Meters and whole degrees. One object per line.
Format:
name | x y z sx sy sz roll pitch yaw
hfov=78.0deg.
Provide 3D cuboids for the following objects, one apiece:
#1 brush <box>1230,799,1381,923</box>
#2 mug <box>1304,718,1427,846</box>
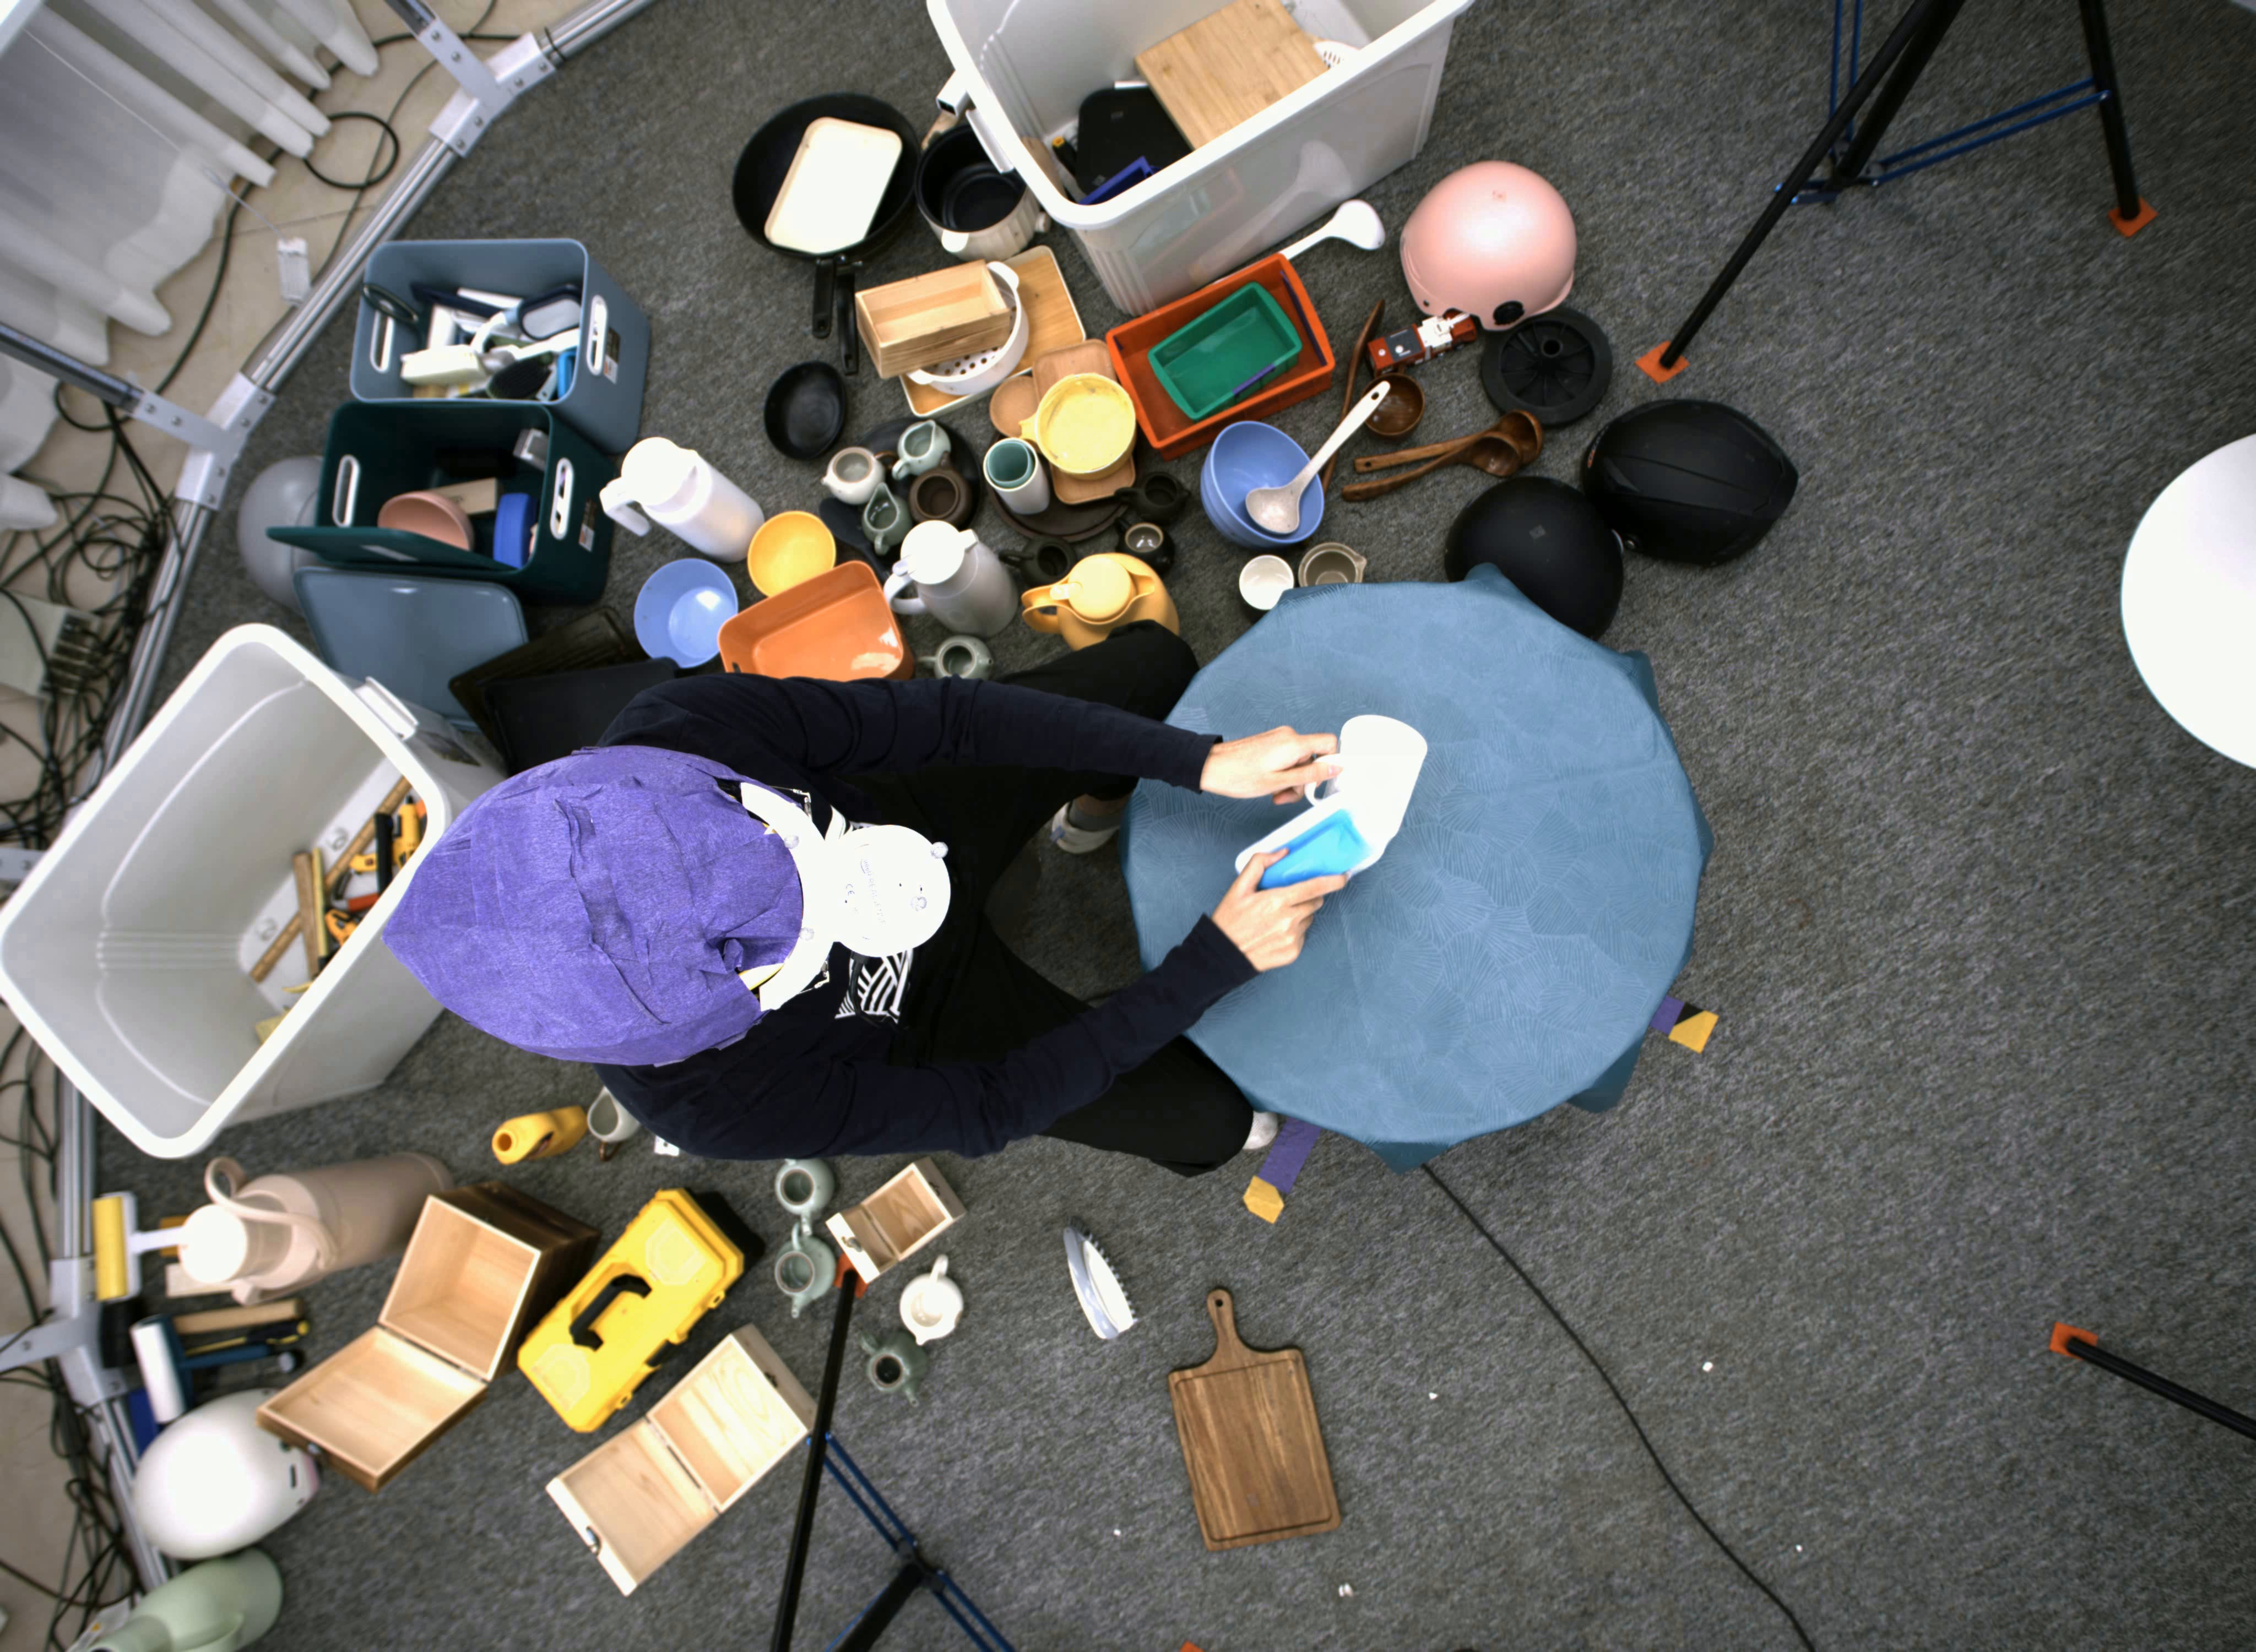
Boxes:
brush | 0.173 0.037 1.362 0.146 0.055 0.084 -31 97 19
mug | 0.229 -0.042 1.374 0.117 0.104 0.083 -9 42 -23
